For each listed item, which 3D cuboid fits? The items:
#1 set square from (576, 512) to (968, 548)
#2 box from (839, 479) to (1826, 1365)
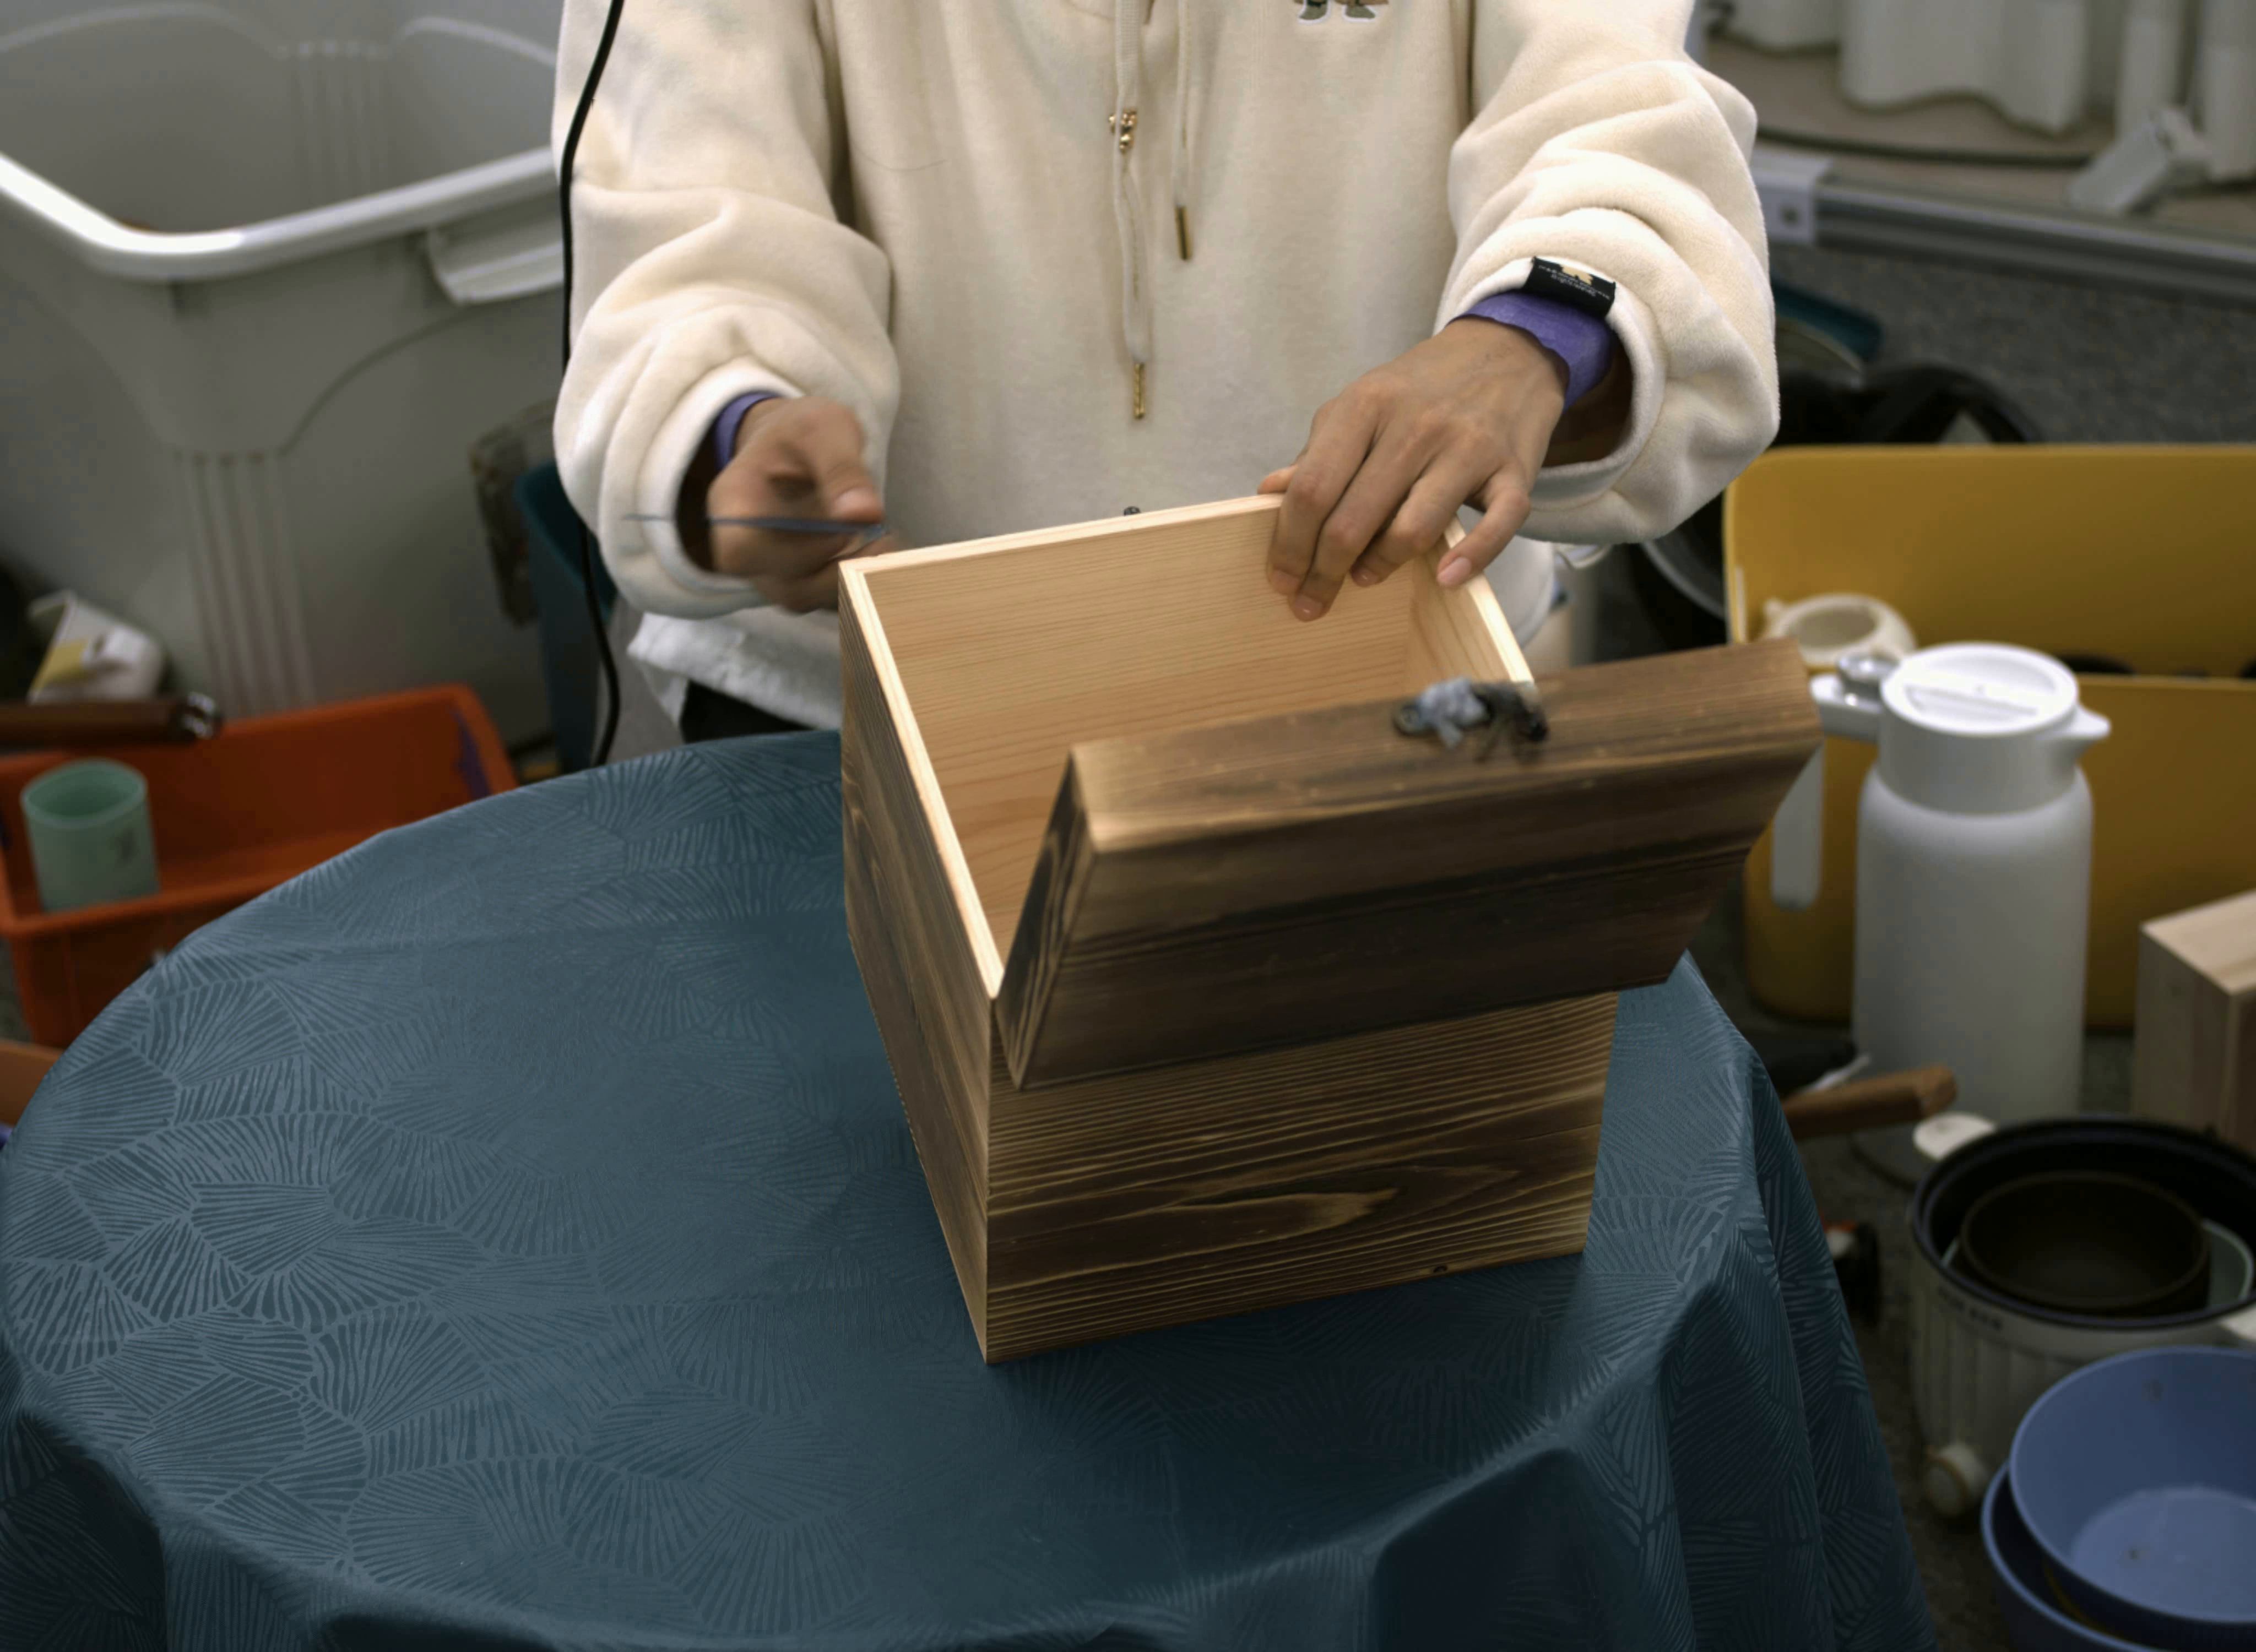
[{"bbox_3d":[-0.123,-0.102,1.898,0.132,0.006,0.061,3,7,-15],"label":"set square"},{"bbox_3d":[0.046,-0.007,1.709,0.209,0.369,0.327,-9,45,-12],"label":"box"}]
